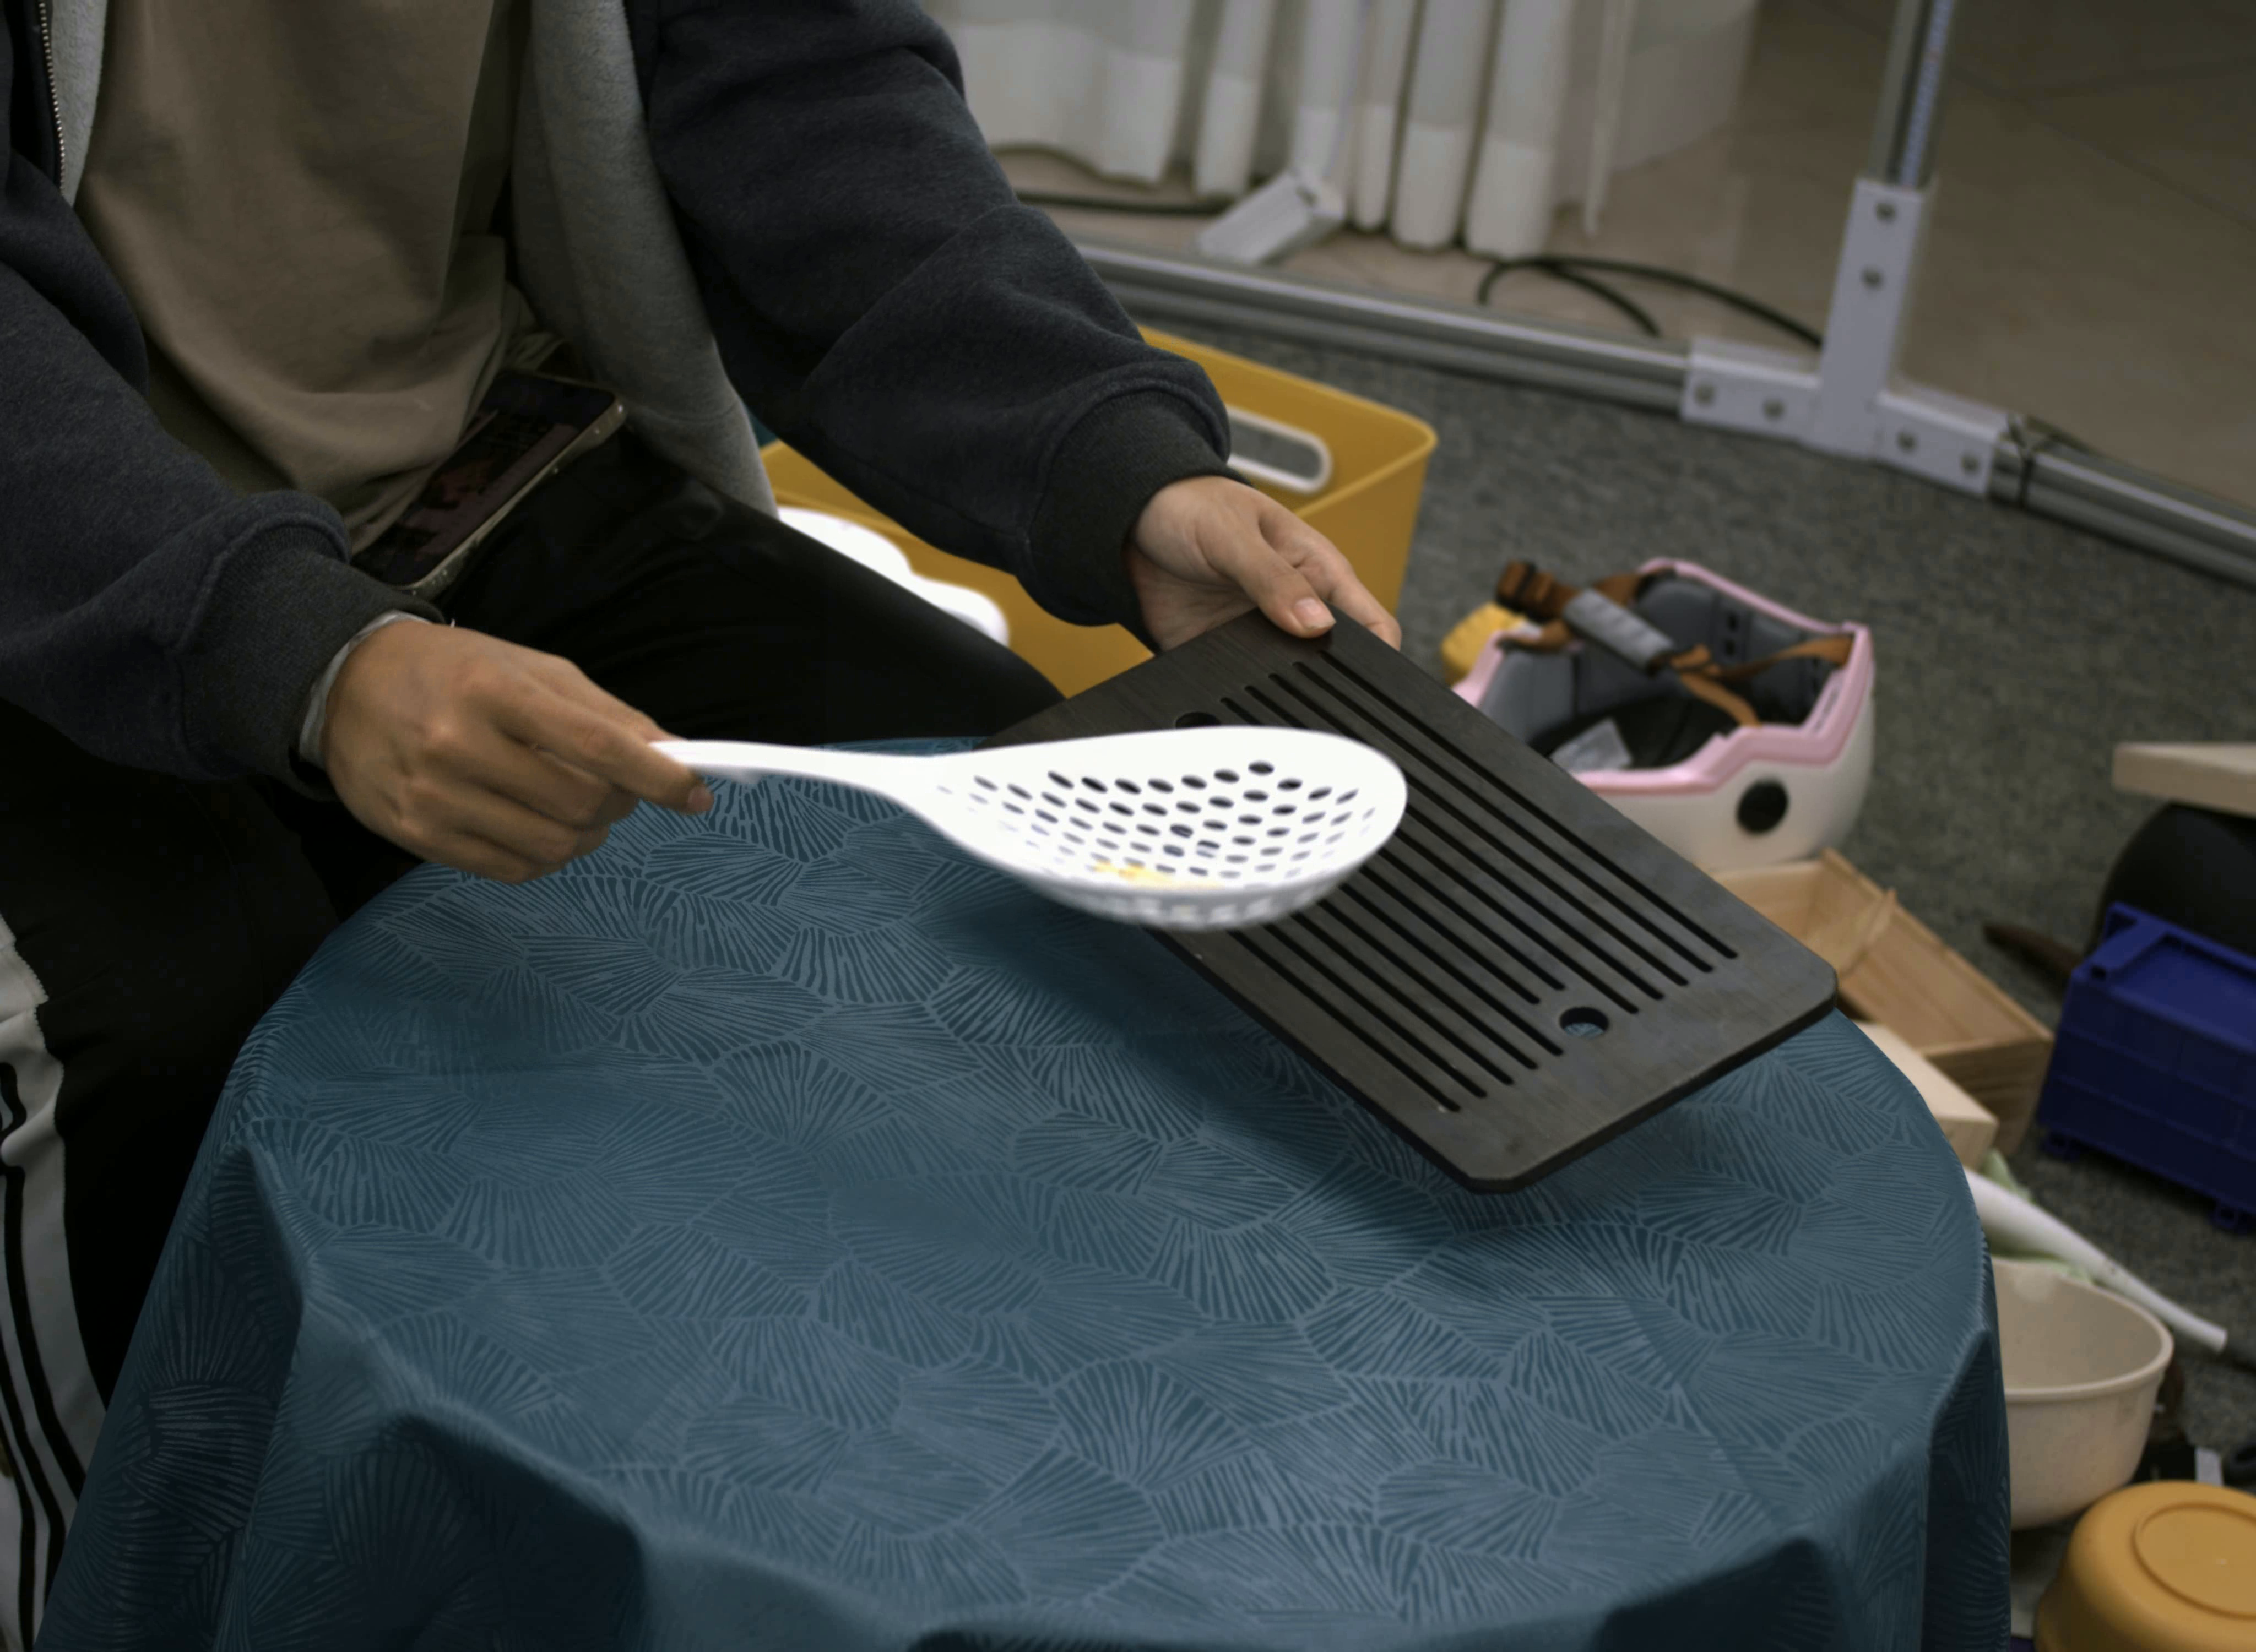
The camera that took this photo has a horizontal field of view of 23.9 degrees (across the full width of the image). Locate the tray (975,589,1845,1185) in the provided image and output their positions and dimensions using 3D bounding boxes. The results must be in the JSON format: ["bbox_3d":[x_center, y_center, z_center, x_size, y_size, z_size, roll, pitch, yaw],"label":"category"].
[{"bbox_3d":[0.096,0.018,1.909,0.169,0.018,0.308,-26,44,-27],"label":"tray"}]

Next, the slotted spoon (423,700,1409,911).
[{"bbox_3d":[-0.077,-0.010,1.800,0.348,0.050,0.137,8,25,17],"label":"slotted spoon"}]
